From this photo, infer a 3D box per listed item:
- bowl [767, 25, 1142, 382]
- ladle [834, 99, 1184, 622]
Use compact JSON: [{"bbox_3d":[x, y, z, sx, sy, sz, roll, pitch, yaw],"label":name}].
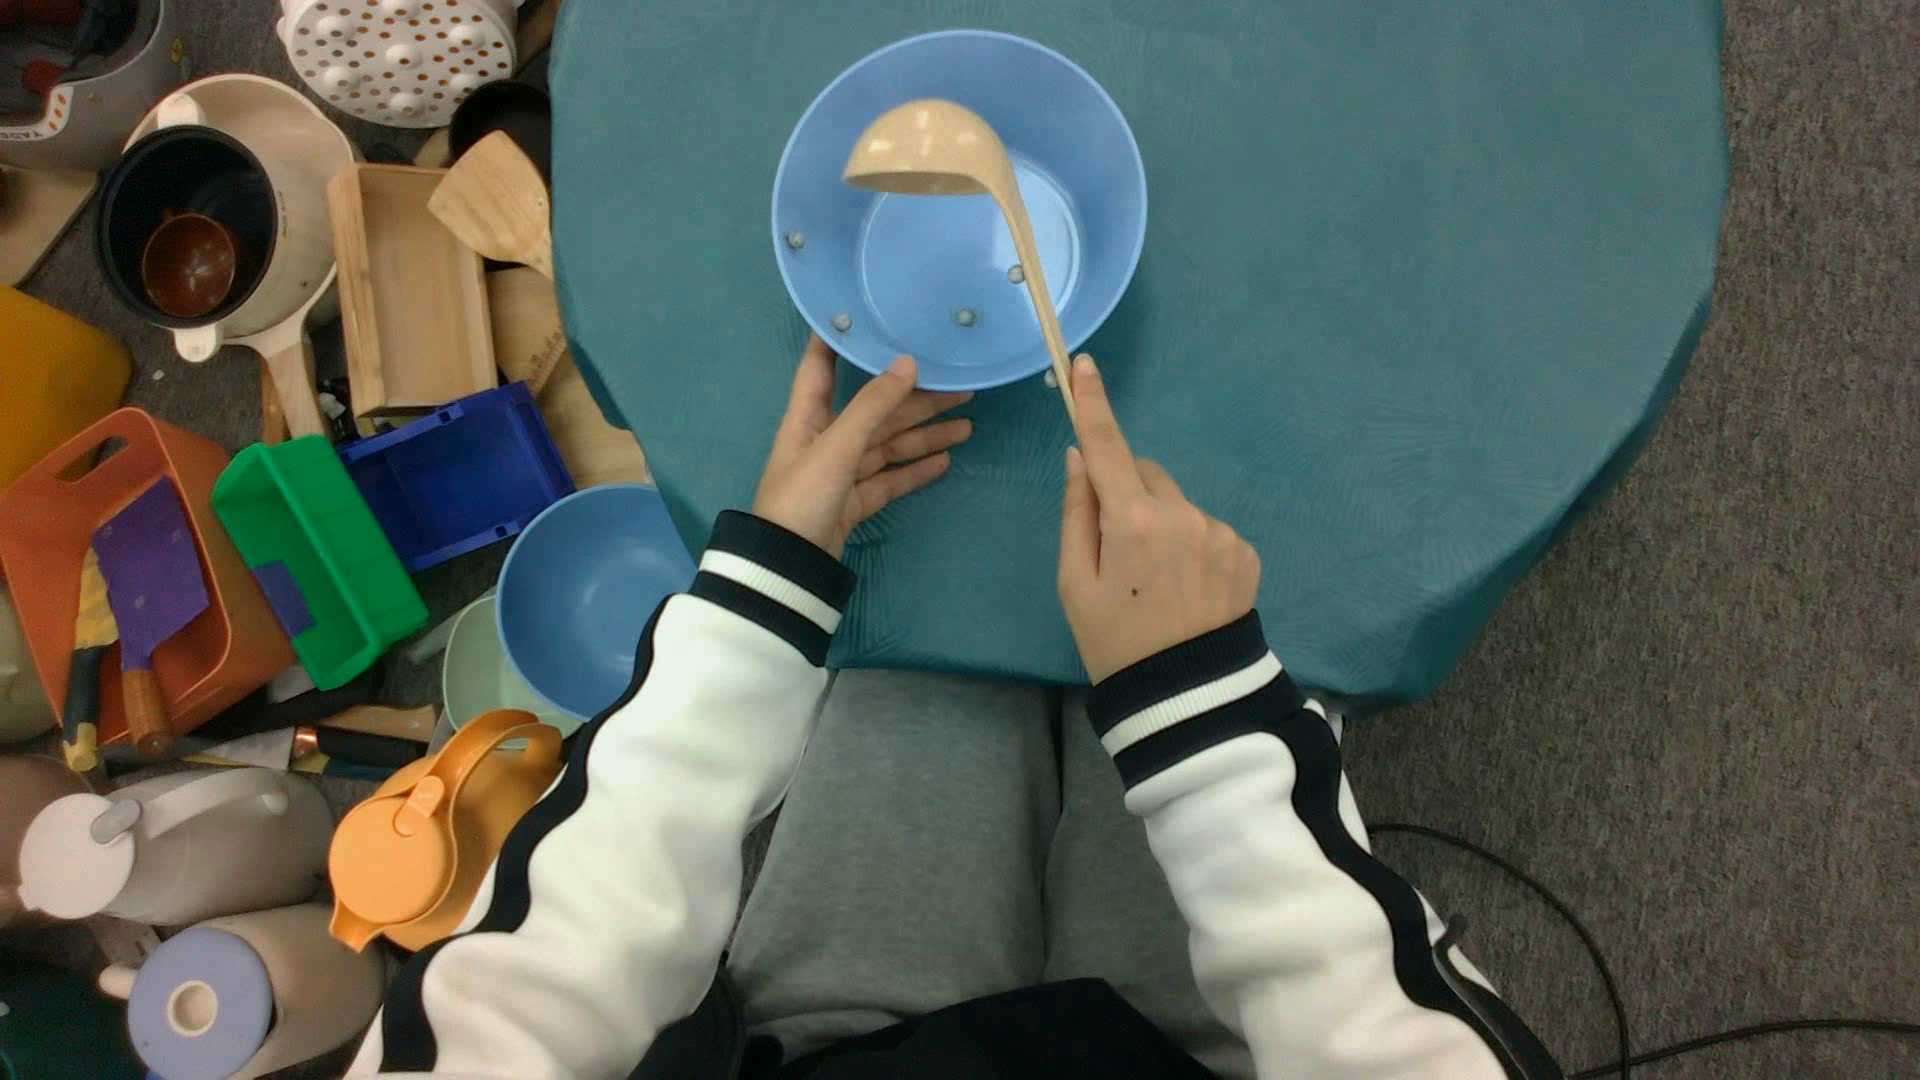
[{"bbox_3d":[0.000,-0.153,0.671,0.176,0.070,0.176,-1,80,6],"label":"bowl"},{"bbox_3d":[0.018,-0.071,0.599,0.072,0.072,0.254,-25,81,26],"label":"ladle"}]
